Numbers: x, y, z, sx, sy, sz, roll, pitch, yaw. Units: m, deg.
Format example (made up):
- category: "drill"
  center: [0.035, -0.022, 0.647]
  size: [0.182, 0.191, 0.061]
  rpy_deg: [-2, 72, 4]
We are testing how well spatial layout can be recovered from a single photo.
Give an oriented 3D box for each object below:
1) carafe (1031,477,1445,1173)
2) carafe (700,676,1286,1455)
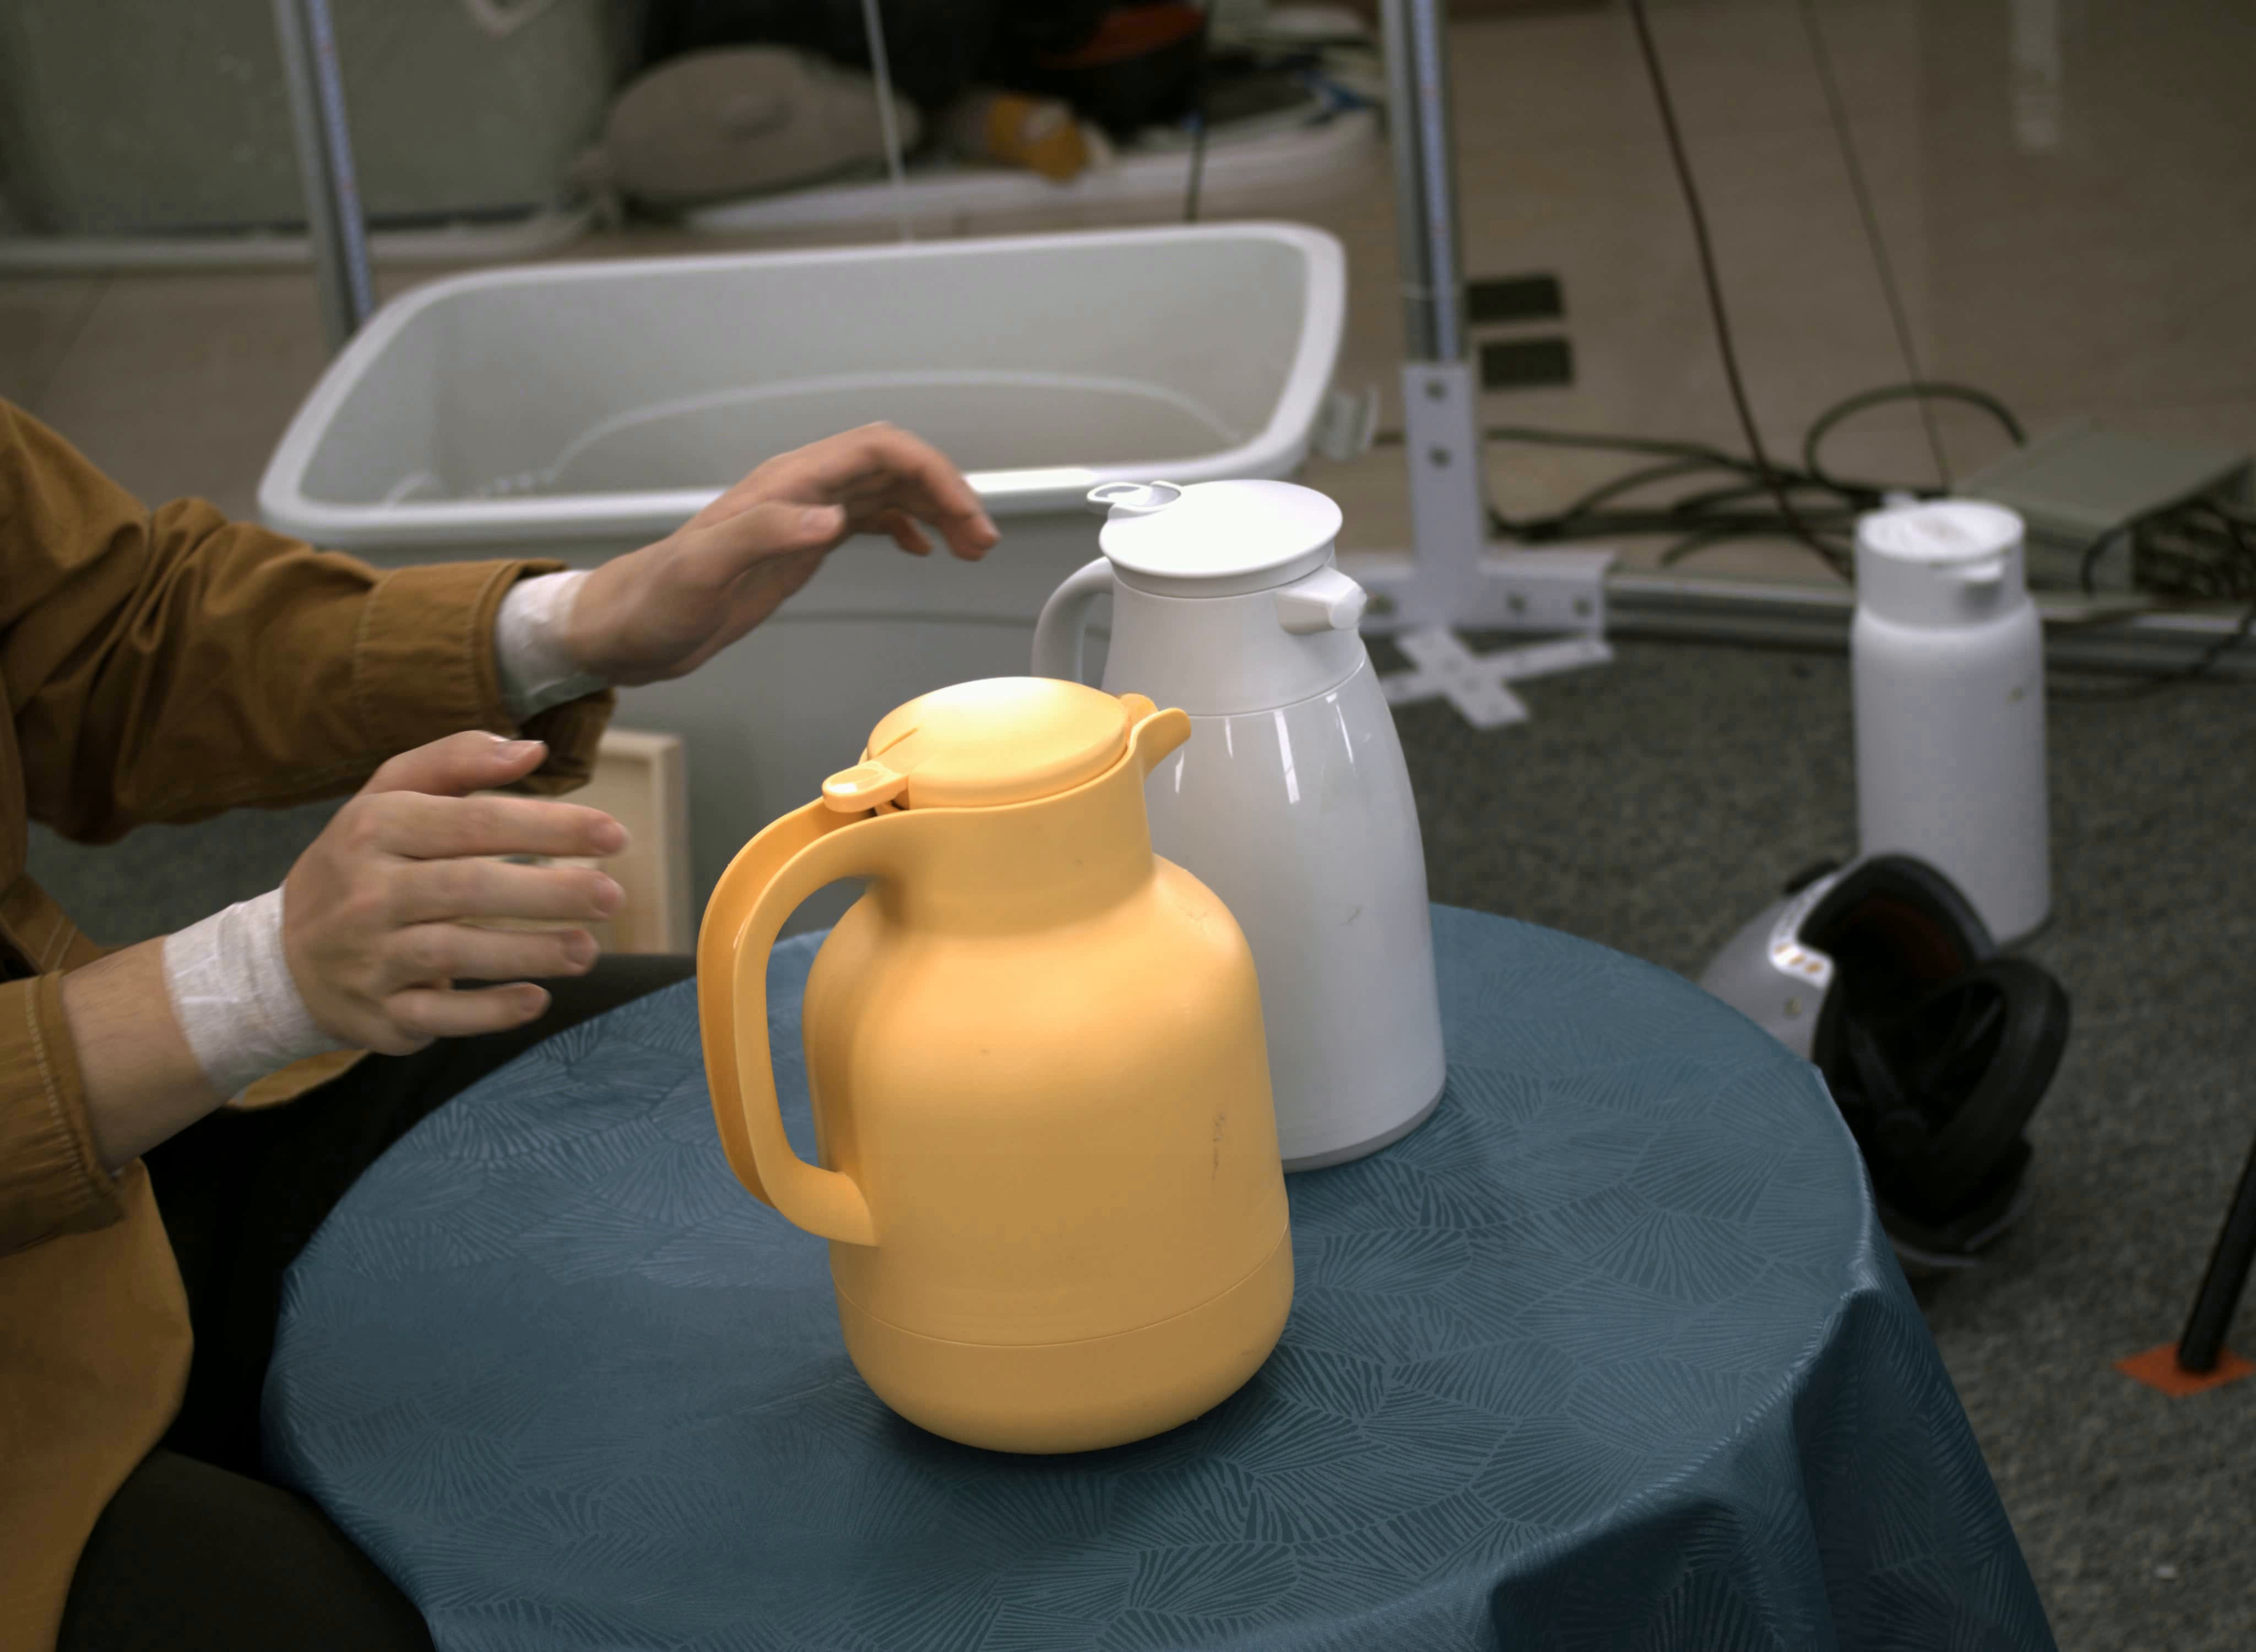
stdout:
- category: "carafe"
  center: [0.032, -0.010, 2.164]
  size: [0.166, 0.252, 0.131]
  rpy_deg: [17, 34, 40]
- category: "carafe"
  center: [-0.050, 0.084, 1.969]
  size: [0.201, 0.264, 0.162]
  rpy_deg: [-18, 26, -26]
